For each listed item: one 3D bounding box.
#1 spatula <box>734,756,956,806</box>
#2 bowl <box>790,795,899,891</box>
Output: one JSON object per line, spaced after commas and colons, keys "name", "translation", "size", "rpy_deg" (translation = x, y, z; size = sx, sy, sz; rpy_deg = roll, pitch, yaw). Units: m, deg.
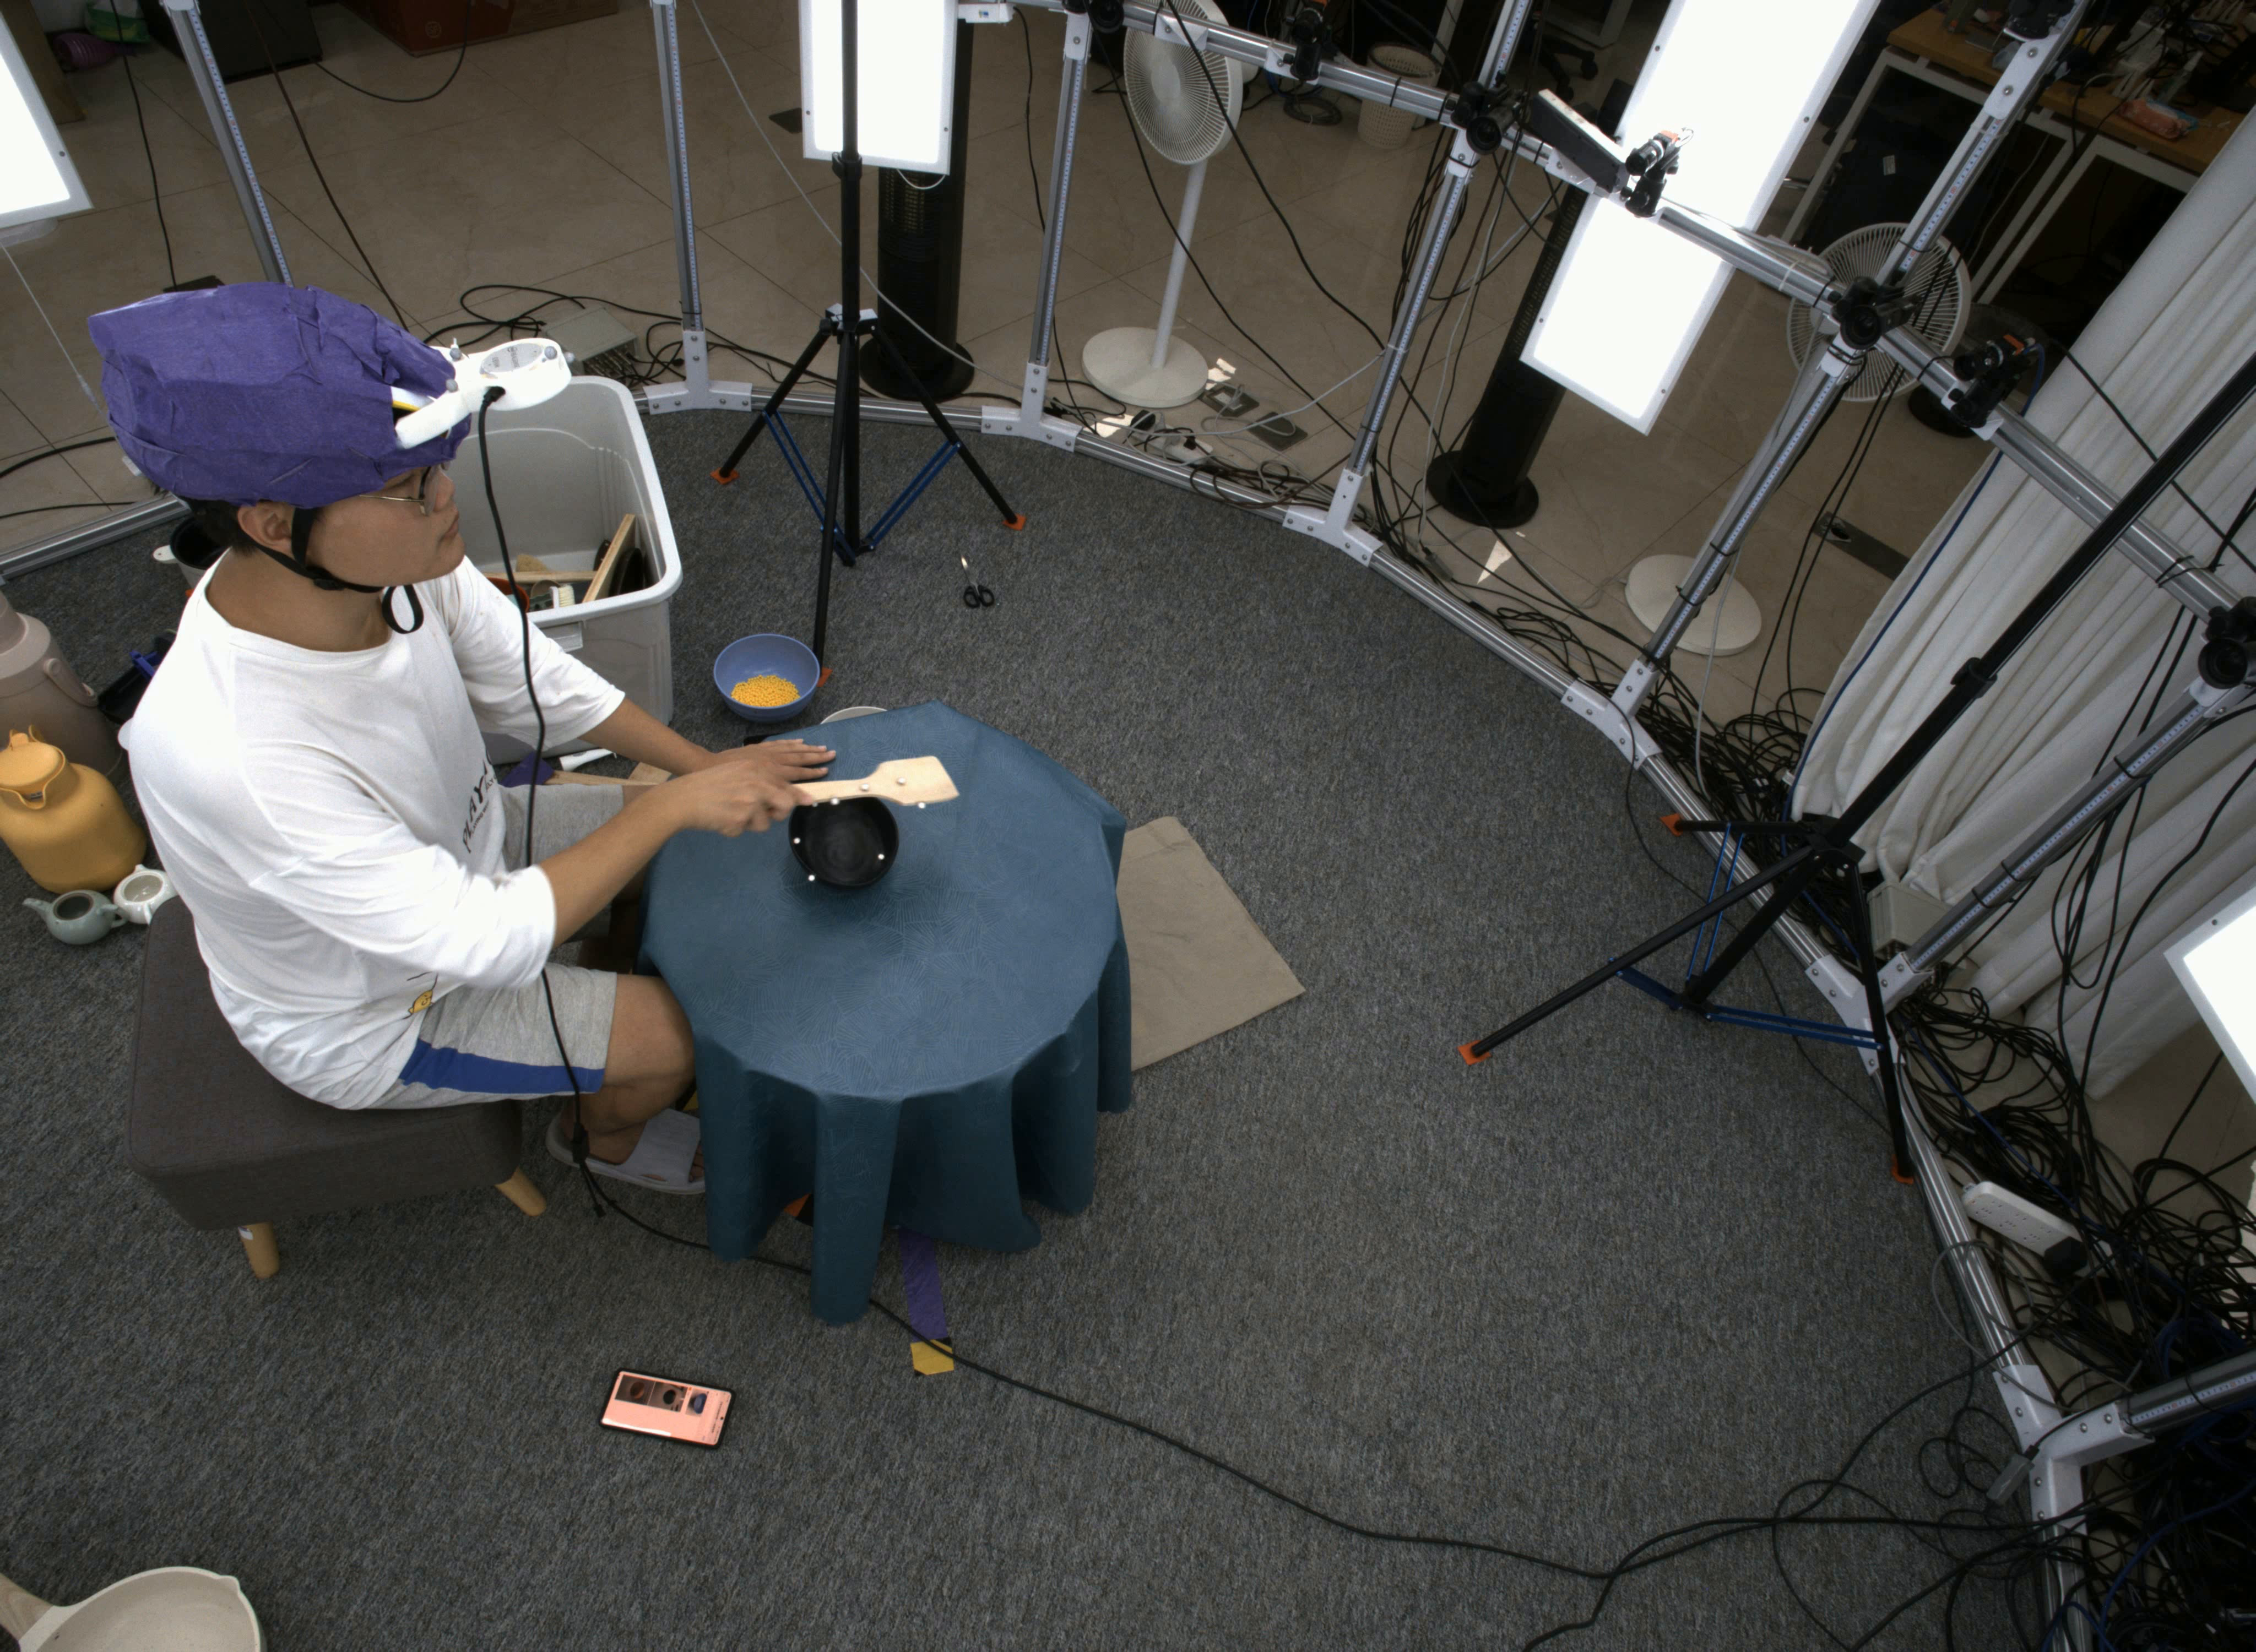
{"name": "spatula", "translation": [-0.337, -0.047, 1.557], "size": [0.298, 0.011, 0.071], "rpy_deg": [-8, 57, -45]}
{"name": "bowl", "translation": [-0.368, 0.024, 1.689], "size": [0.138, 0.068, 0.166], "rpy_deg": [-14, 56, -21]}
